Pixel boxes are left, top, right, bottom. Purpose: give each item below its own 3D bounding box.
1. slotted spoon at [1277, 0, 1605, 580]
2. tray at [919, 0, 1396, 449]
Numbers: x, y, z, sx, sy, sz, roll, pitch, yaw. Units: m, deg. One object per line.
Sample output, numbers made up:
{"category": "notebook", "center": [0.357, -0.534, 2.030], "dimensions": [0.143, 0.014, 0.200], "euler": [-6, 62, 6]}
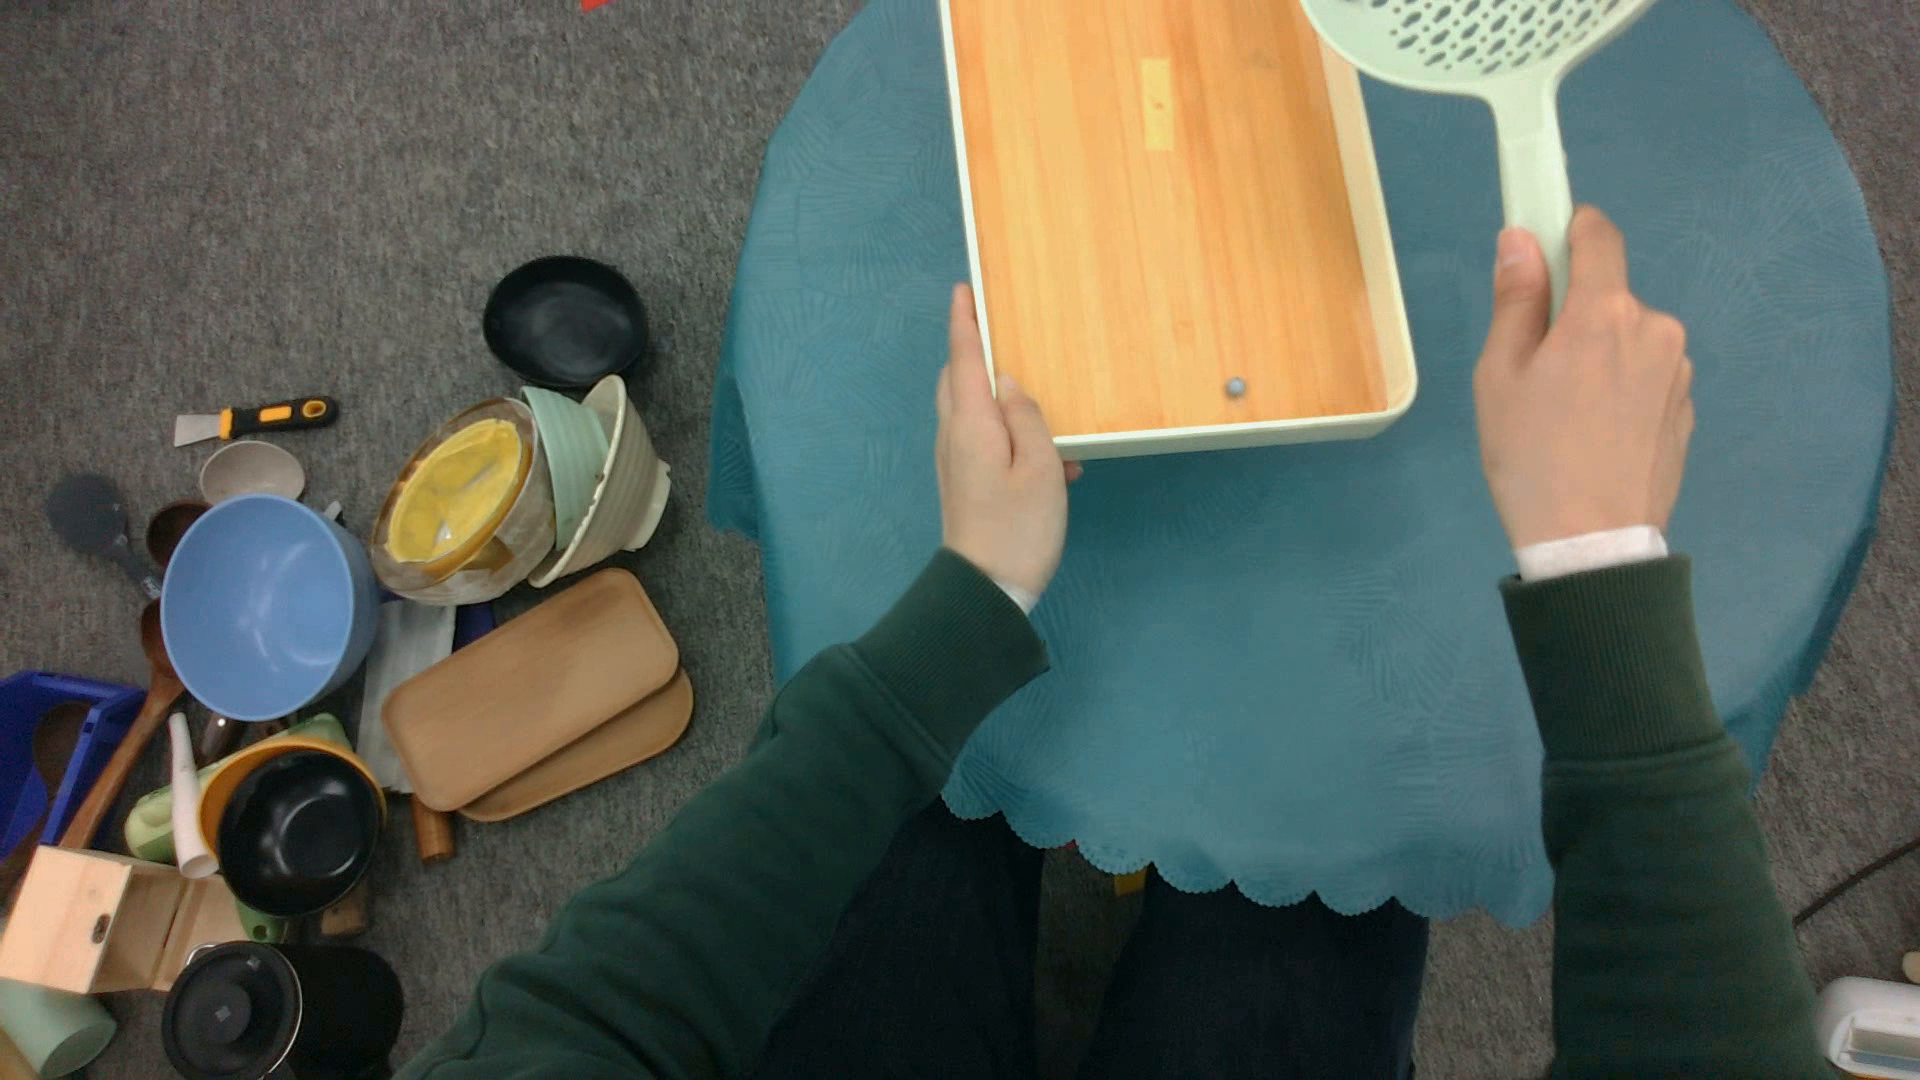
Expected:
{"category": "slotted spoon", "center": [0.206, -0.166, 0.522], "dimensions": [0.169, 0.075, 0.359], "euler": [-11, 74, 41]}
{"category": "tray", "center": [0.083, -0.191, 0.644], "dimensions": [0.192, 0.027, 0.301], "euler": [-4, 73, -6]}
